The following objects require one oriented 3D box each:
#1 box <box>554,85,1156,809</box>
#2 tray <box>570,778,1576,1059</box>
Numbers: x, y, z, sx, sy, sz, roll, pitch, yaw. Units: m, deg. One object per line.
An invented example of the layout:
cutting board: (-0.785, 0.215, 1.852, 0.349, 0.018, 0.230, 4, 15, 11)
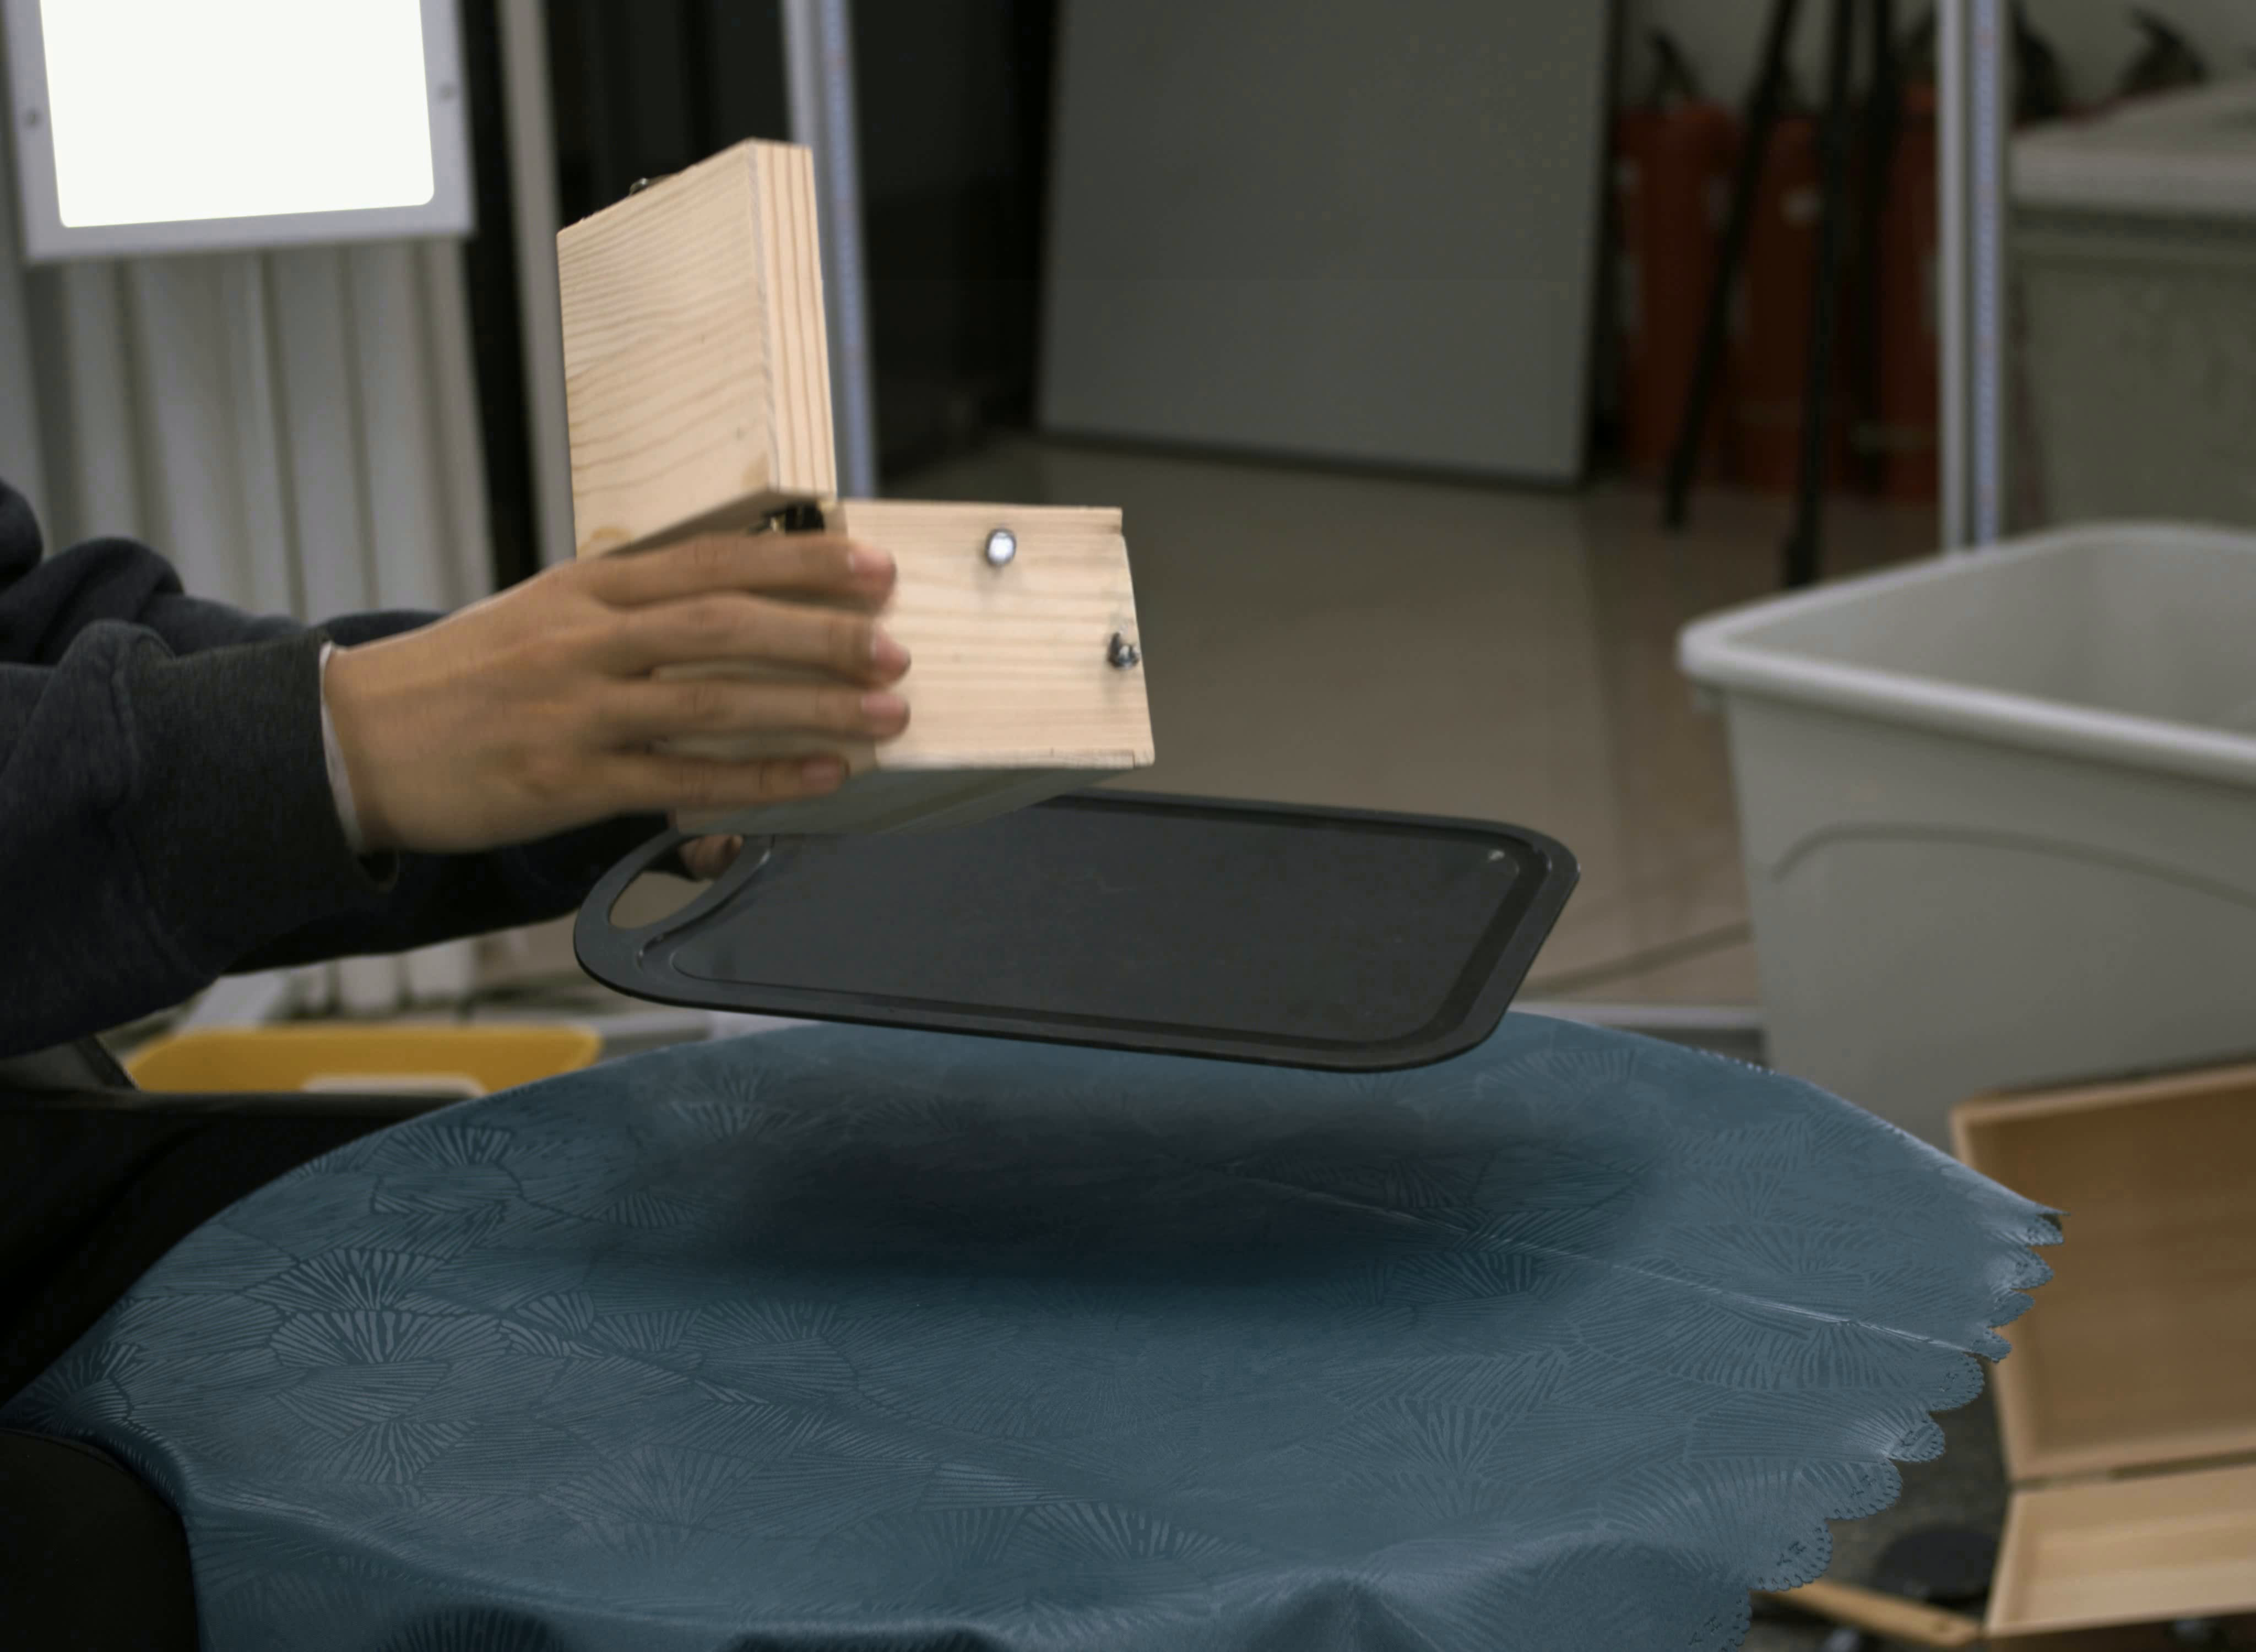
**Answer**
box: (-0.079, -0.106, 1.559, 0.131, 0.187, 0.103, 0, -13, -38)
tray: (-0.023, 0.025, 1.781, 0.324, 0.010, 0.209, 5, 22, 18)
